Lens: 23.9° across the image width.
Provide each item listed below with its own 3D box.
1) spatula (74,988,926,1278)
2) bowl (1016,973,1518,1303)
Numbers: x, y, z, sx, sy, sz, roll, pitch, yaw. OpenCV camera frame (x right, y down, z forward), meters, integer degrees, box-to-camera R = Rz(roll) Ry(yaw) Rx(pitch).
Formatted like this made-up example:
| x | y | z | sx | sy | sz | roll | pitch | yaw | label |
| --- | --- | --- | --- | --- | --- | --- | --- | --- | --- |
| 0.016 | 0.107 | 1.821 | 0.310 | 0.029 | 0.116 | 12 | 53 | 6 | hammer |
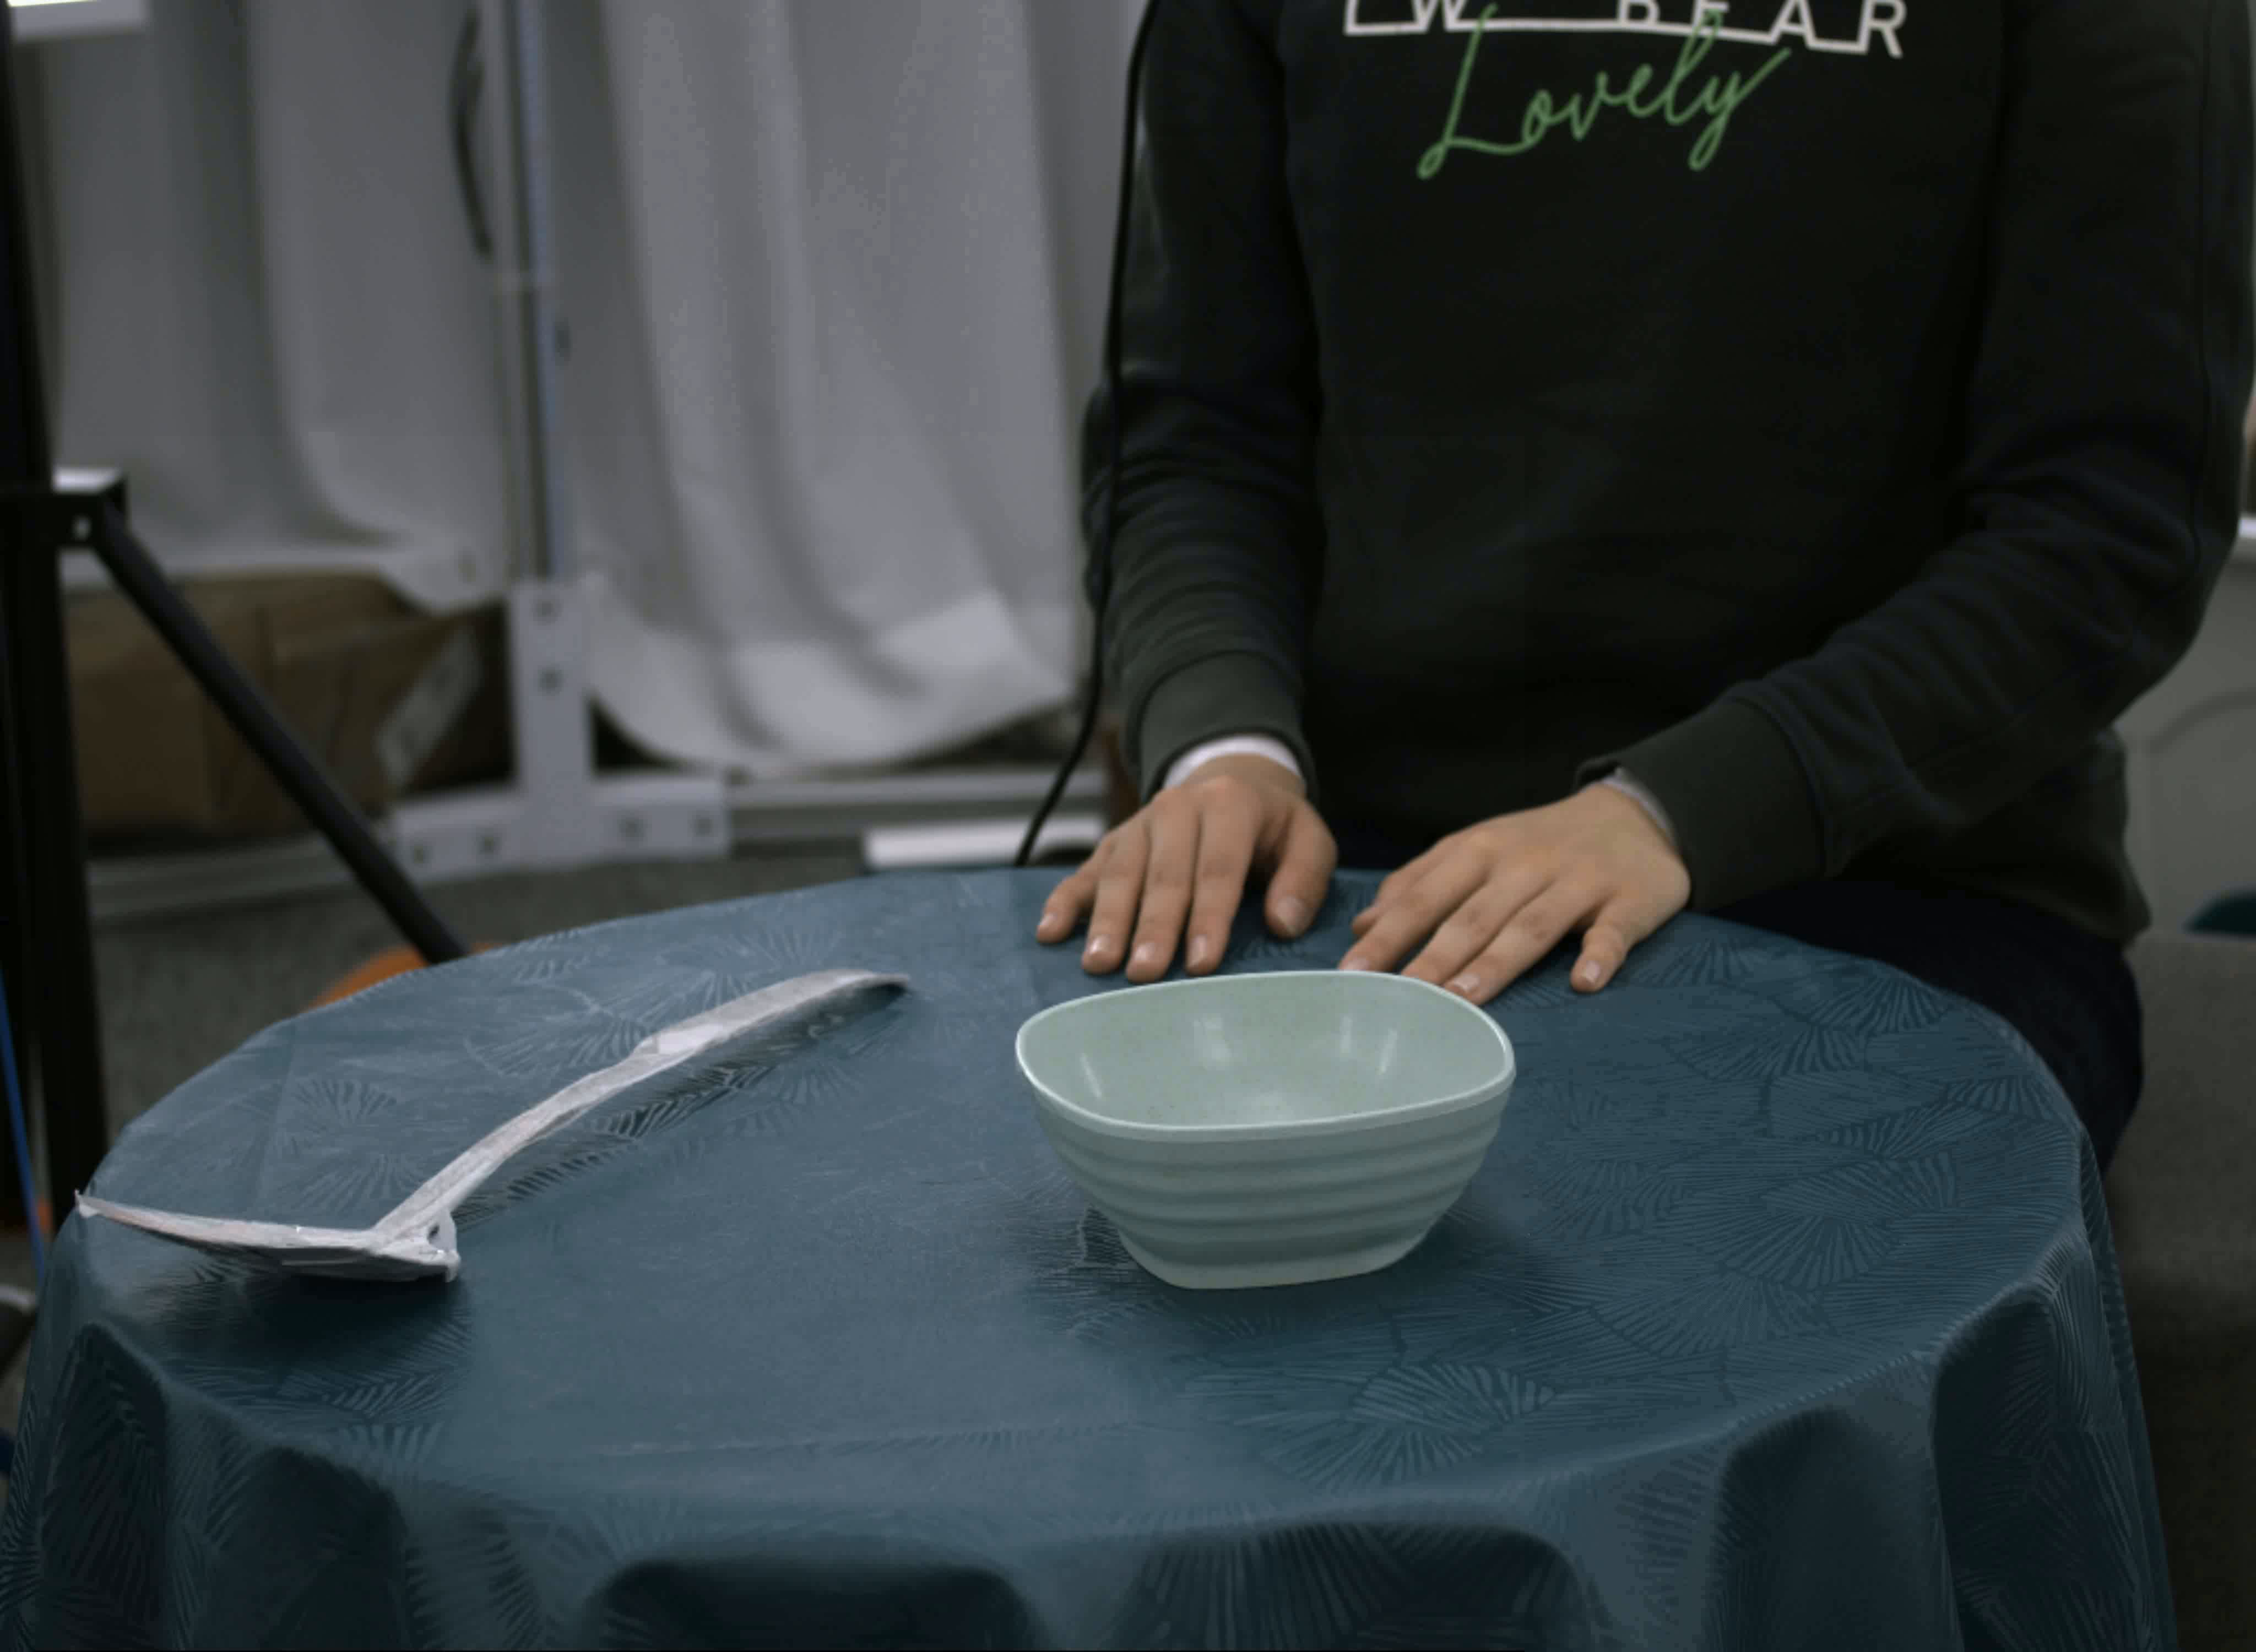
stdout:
| x | y | z | sx | sy | sz | roll | pitch | yaw | label |
| --- | --- | --- | --- | --- | --- | --- | --- | --- | --- |
| -0.168 | 0.082 | 1.606 | 0.100 | 0.045 | 0.358 | 5 | 17 | 31 | spatula |
| 0.039 | 0.092 | 1.513 | 0.150 | 0.058 | 0.152 | -2 | 17 | -1 | bowl |
